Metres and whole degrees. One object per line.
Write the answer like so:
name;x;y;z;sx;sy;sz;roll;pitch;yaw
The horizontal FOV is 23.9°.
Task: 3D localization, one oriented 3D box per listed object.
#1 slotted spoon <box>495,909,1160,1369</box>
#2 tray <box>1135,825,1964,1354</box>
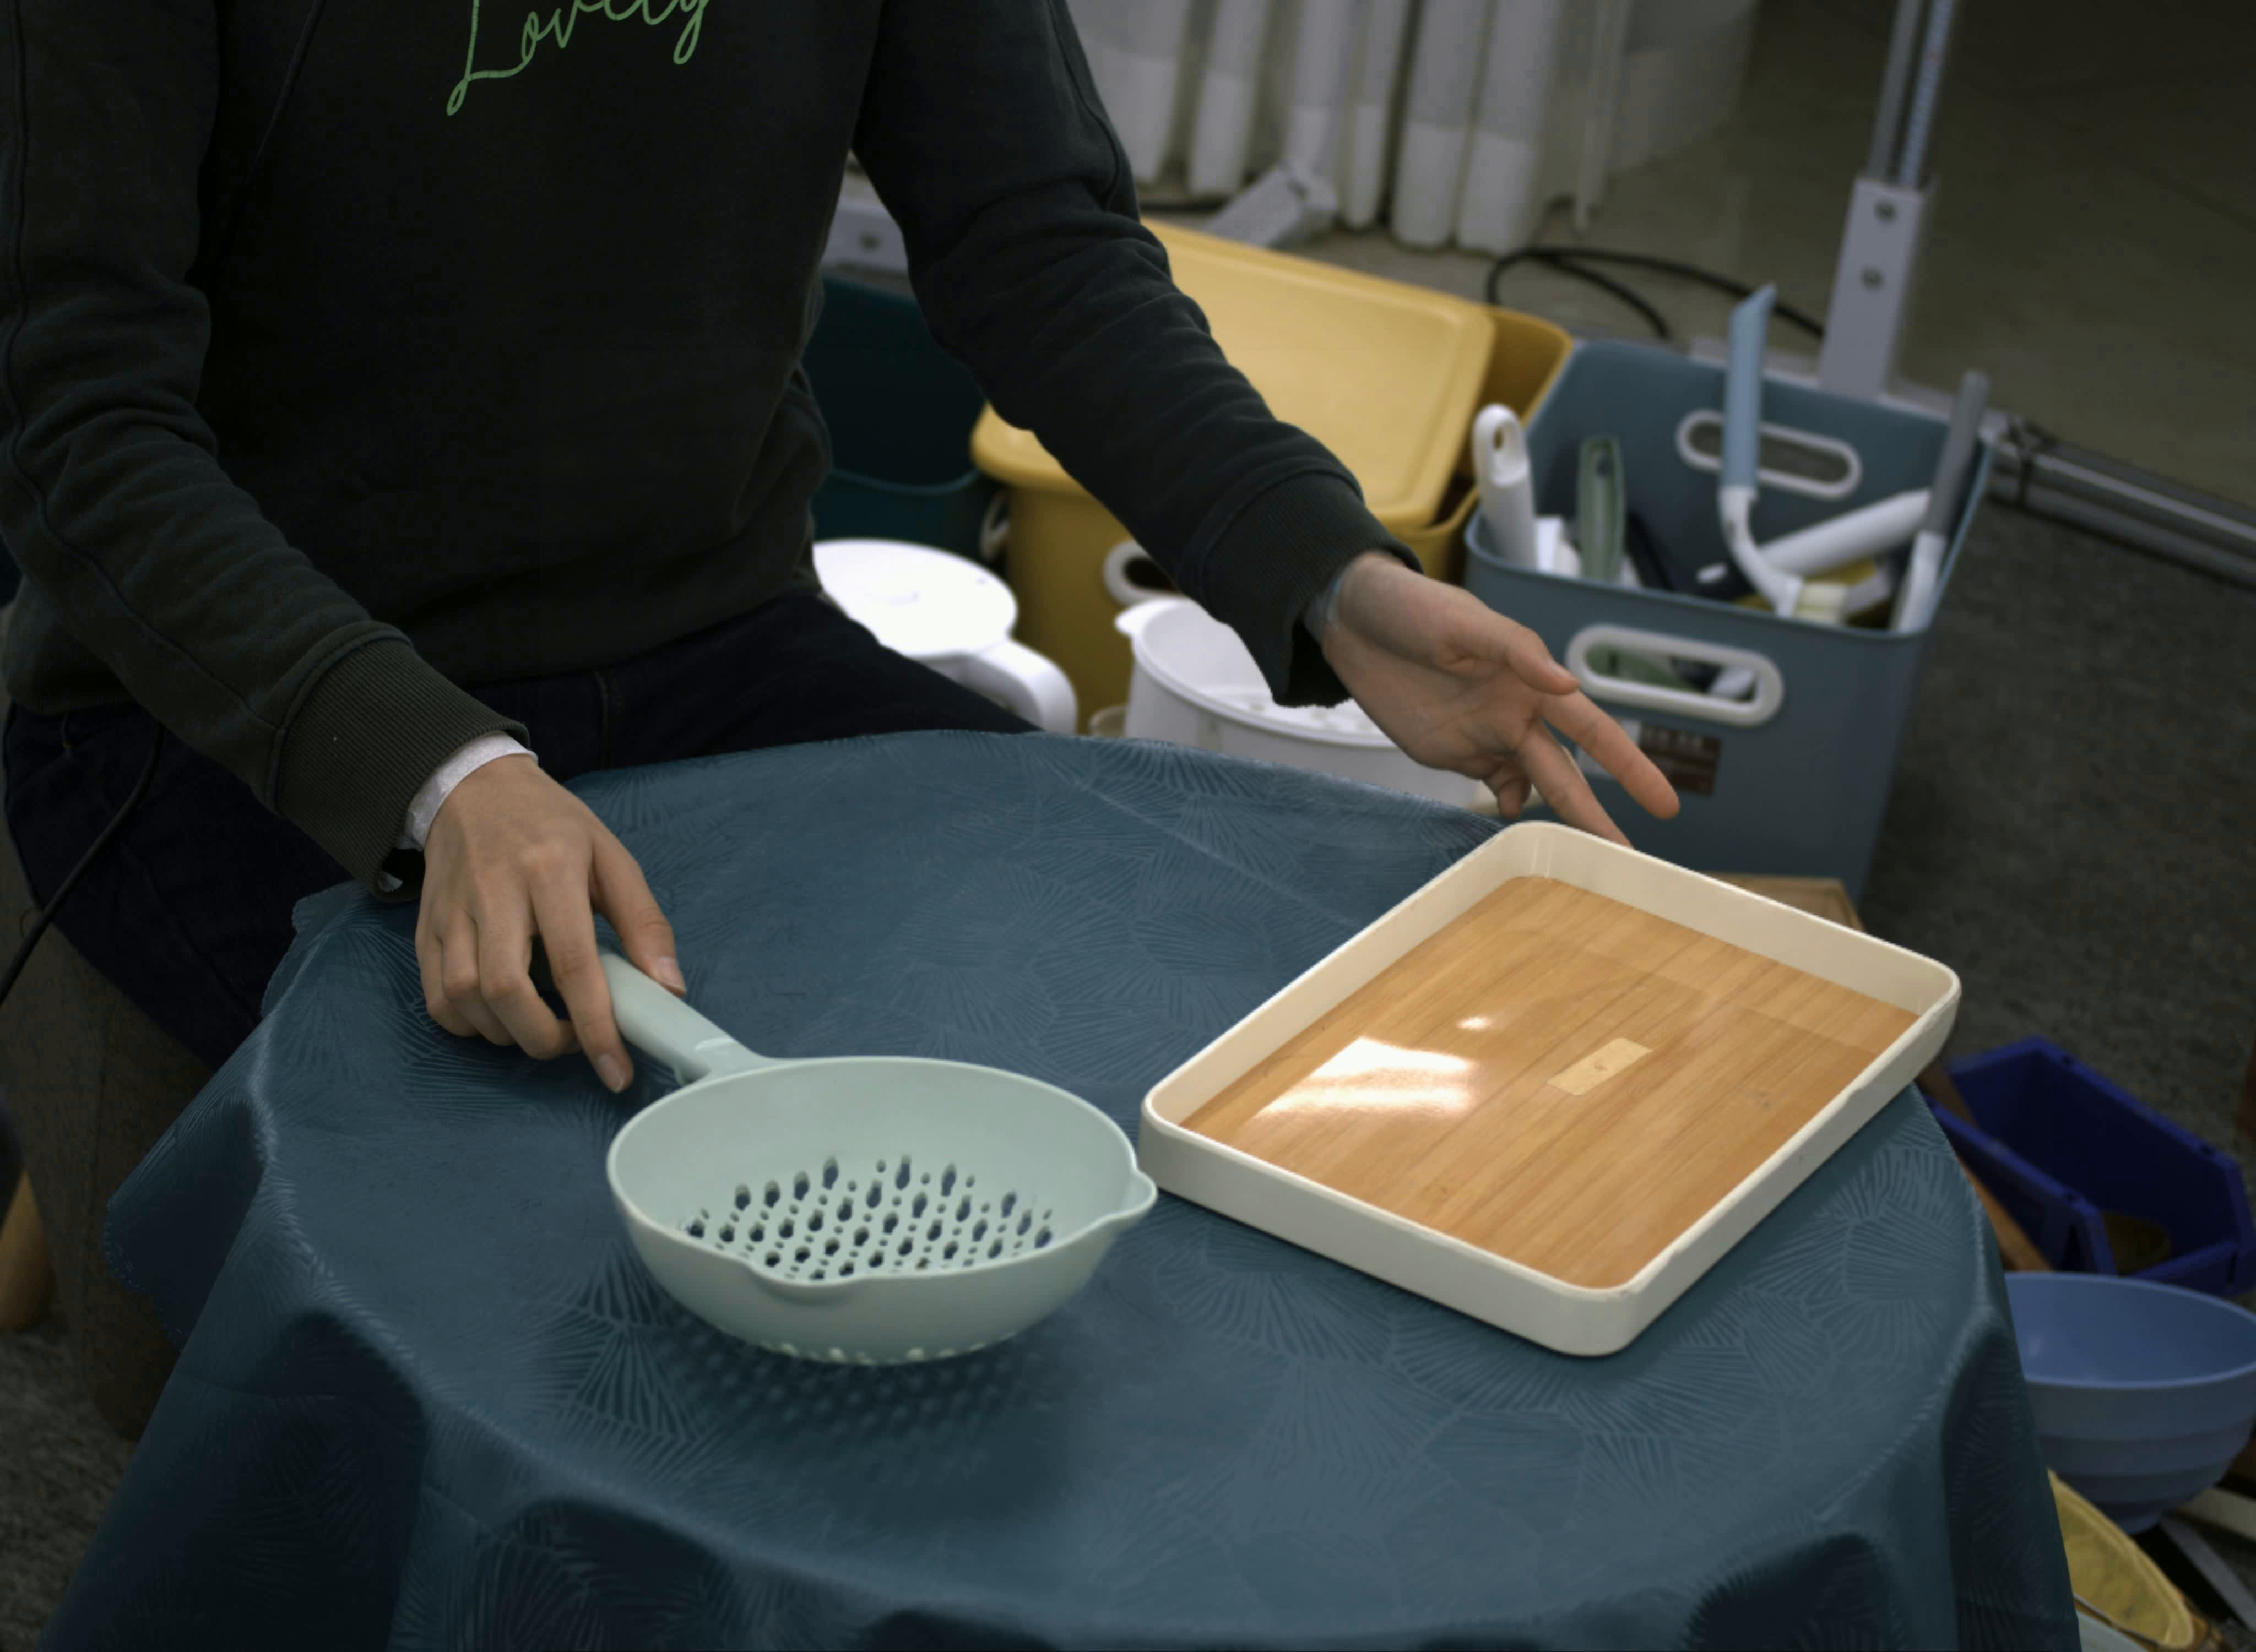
slotted spoon;-0.131;0.088;1.770;0.168;0.075;0.362;-10;31;-29
tray;0.153;0.087;1.879;0.192;0.027;0.299;21;30;26
